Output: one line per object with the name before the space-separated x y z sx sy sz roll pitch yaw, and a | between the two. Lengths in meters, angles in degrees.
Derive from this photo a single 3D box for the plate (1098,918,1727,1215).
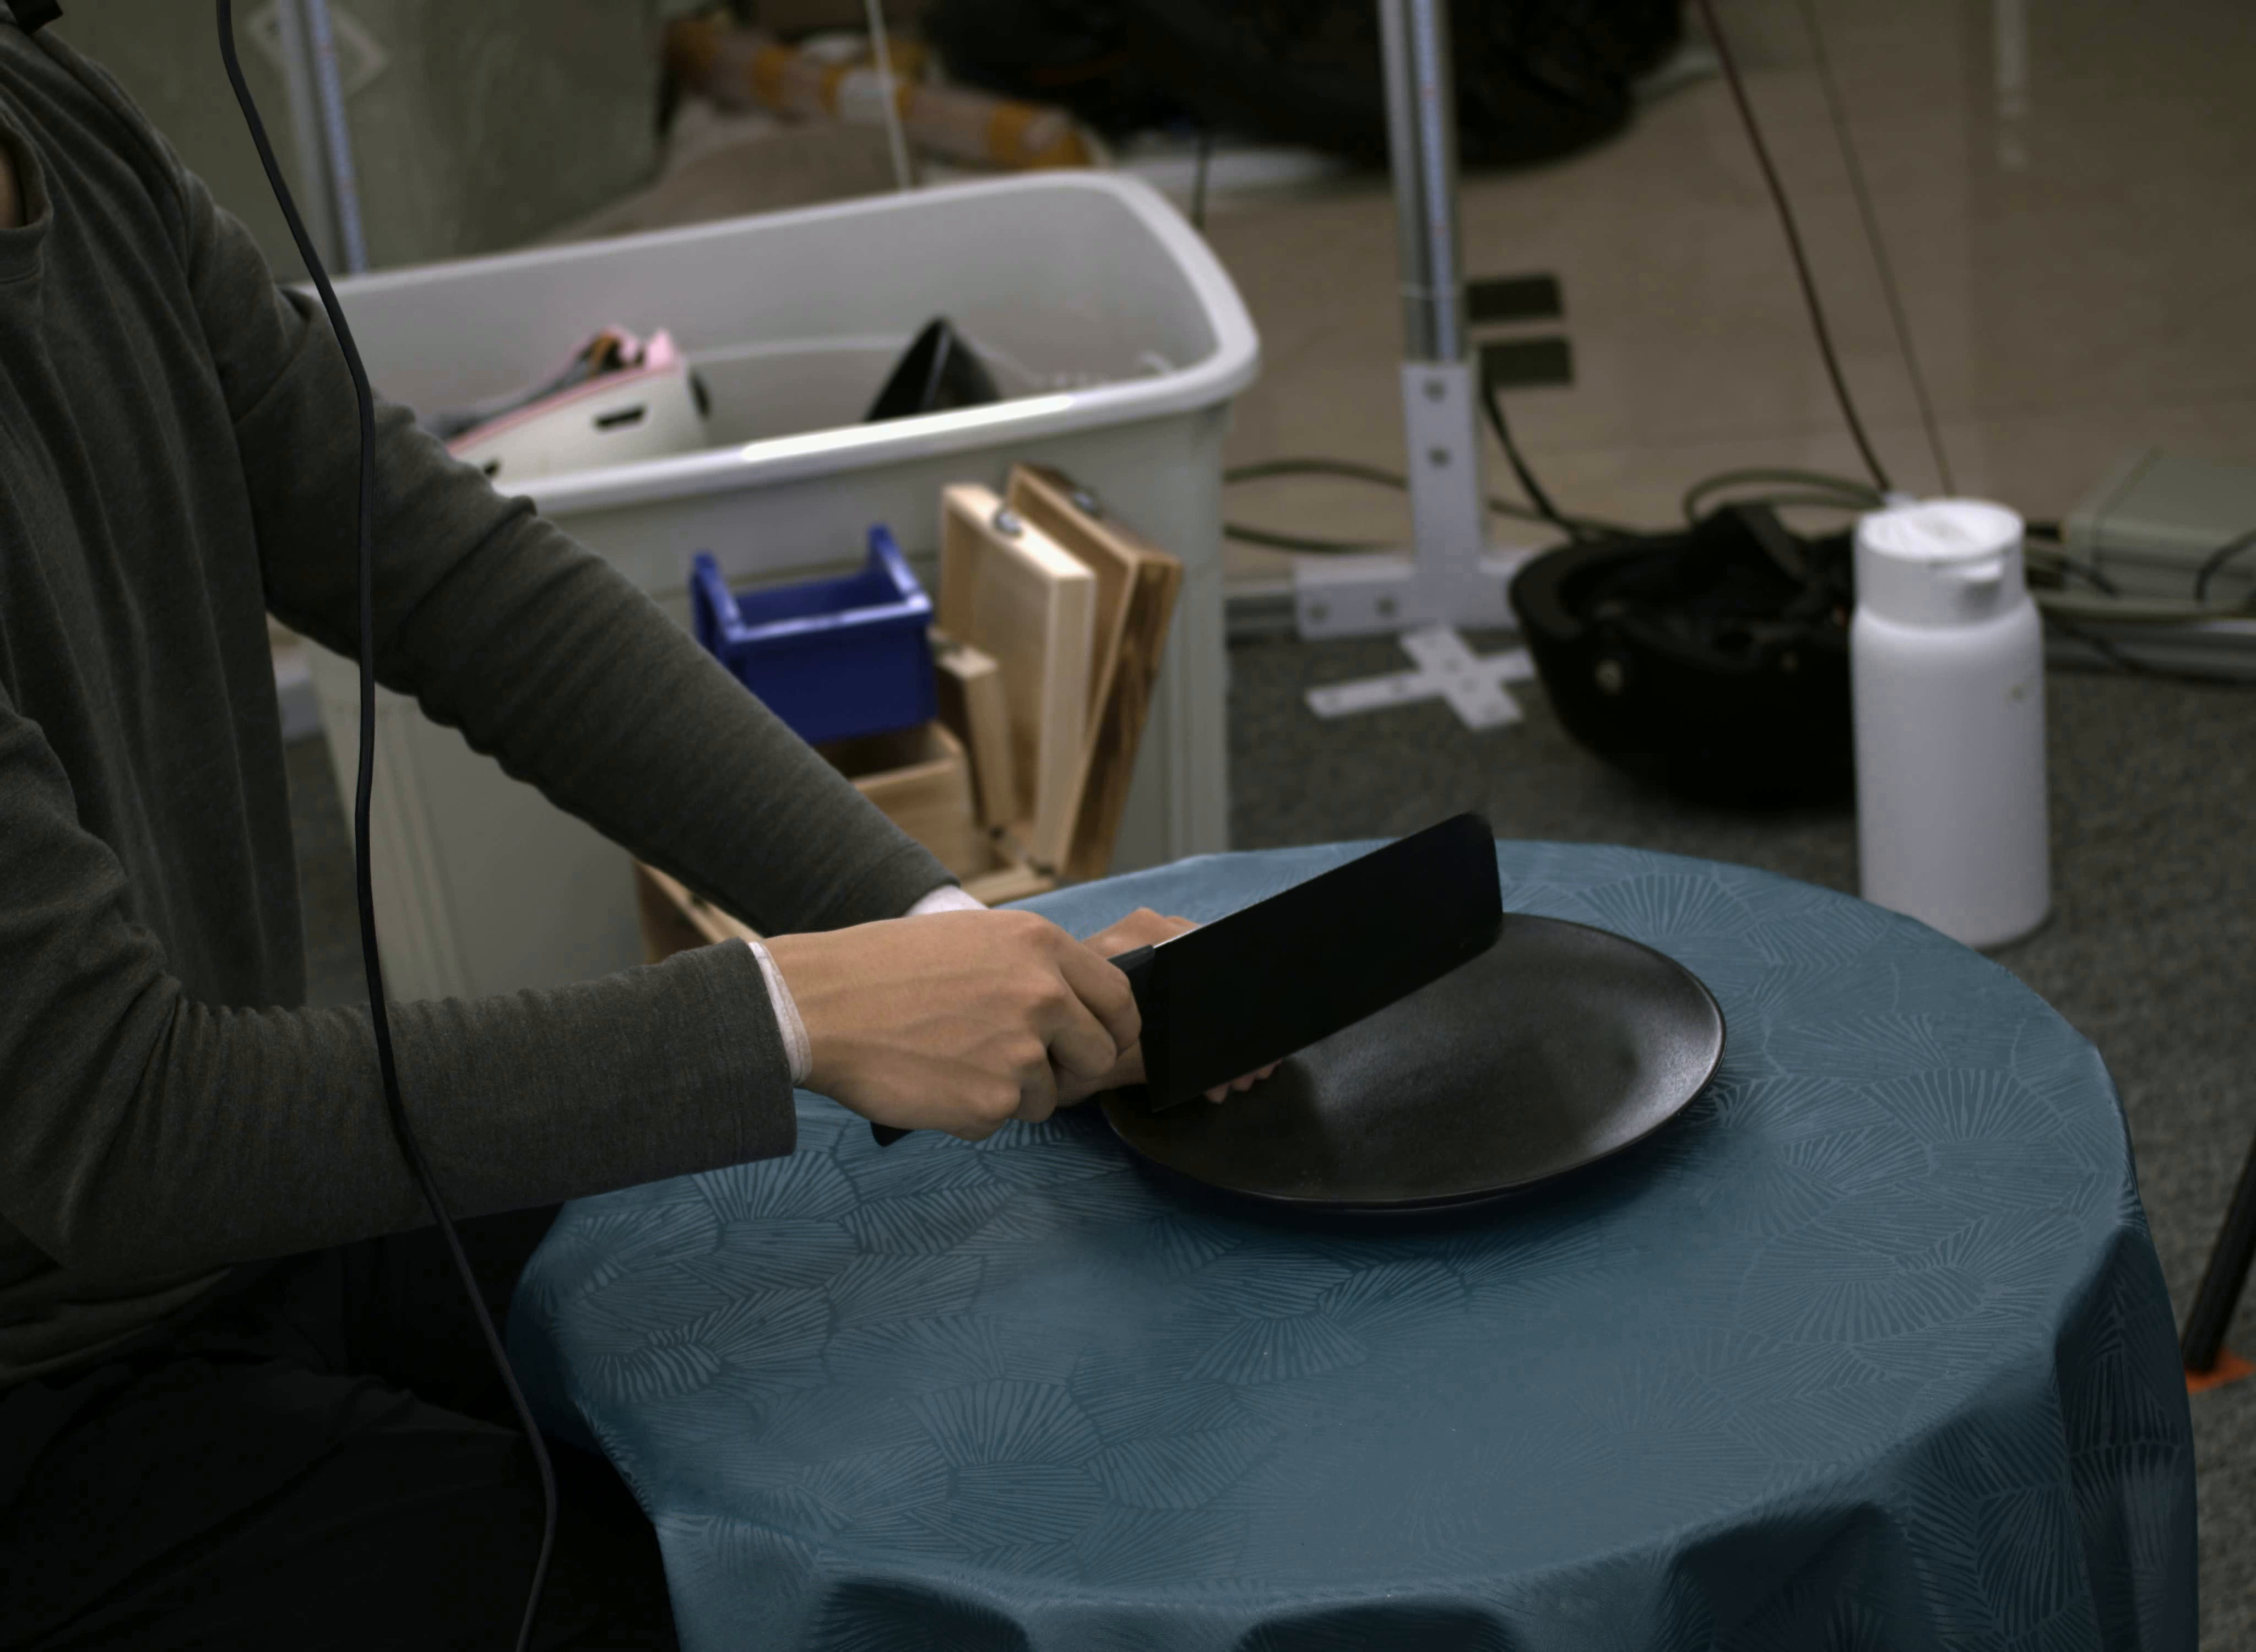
plate | 0.110 0.096 2.189 0.244 0.024 0.241 -6 25 3

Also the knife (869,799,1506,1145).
knife | 0.028 0.064 2.155 0.300 0.082 0.020 -18 24 -32
